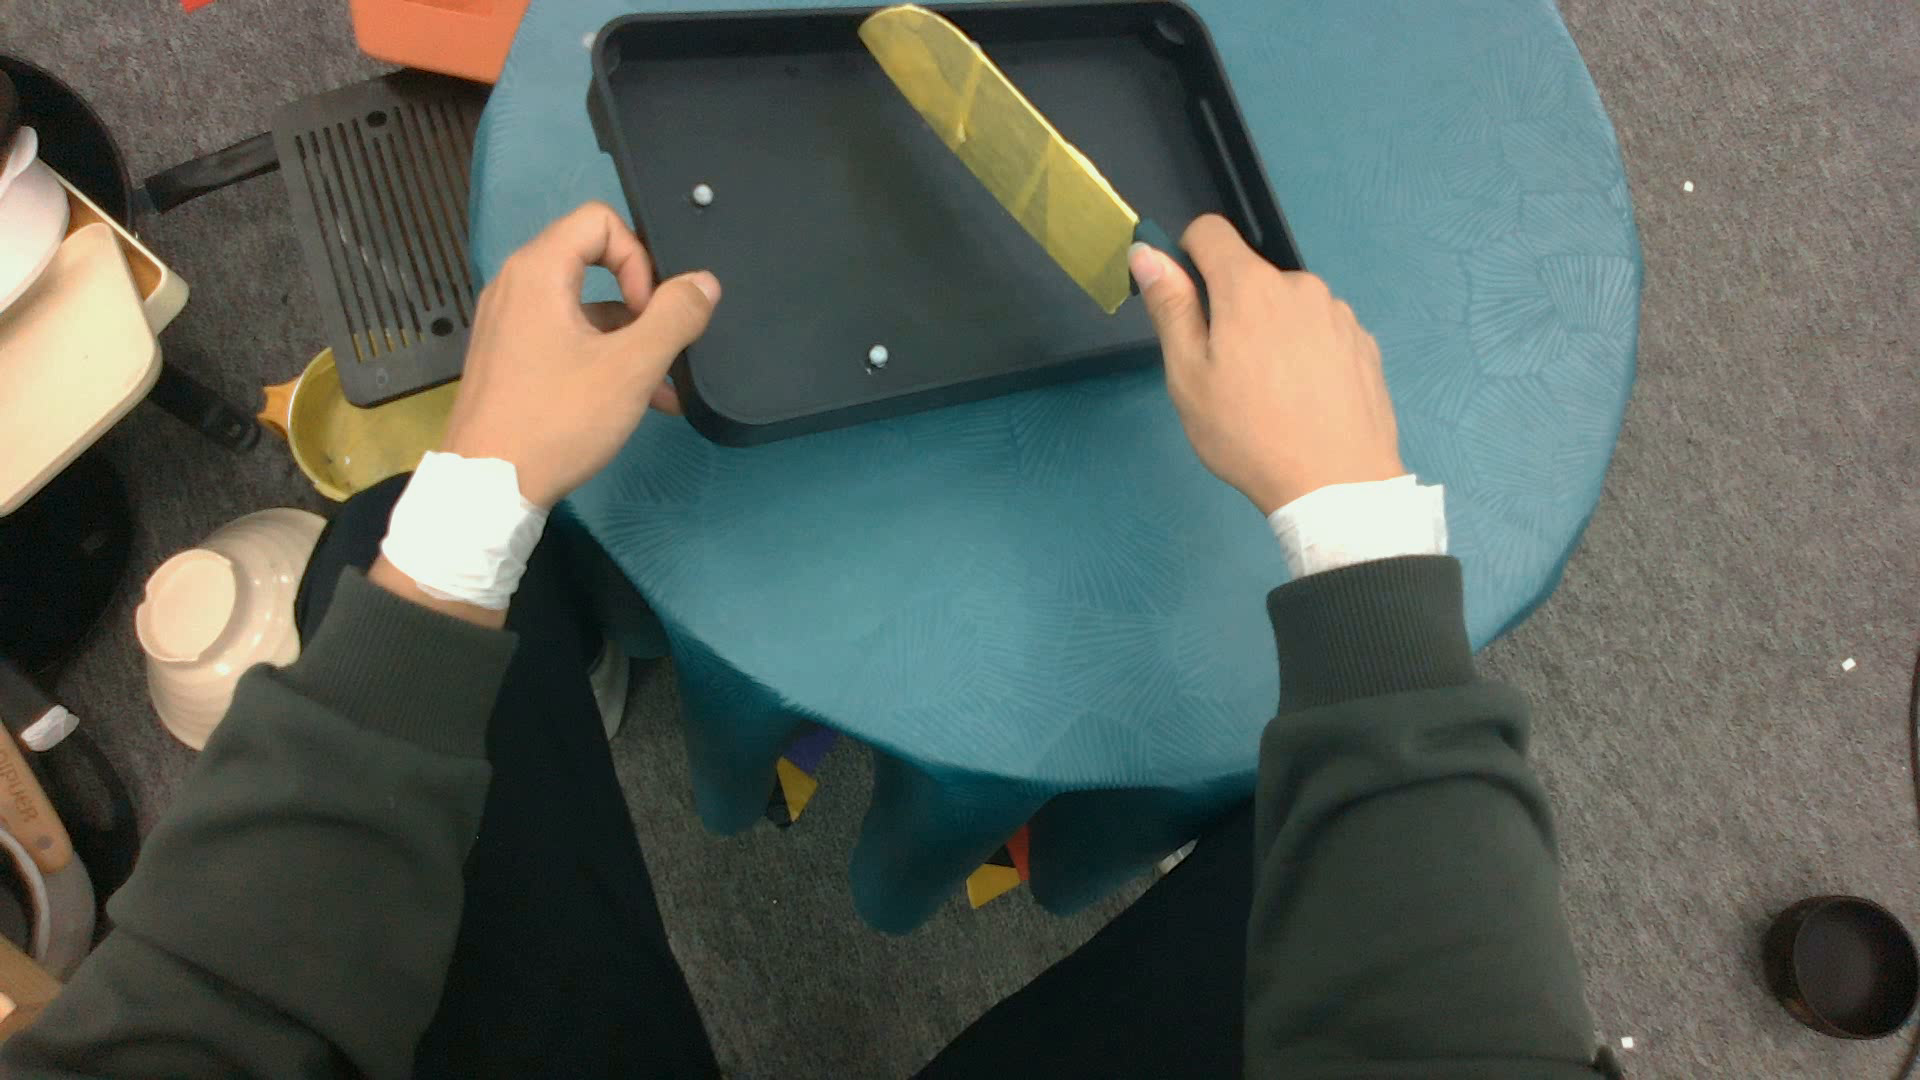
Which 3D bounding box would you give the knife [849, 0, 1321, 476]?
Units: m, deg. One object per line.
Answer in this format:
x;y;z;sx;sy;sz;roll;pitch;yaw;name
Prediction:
0.048;-0.134;0.602;0.027;0.081;0.289;-41;85;-17;knife

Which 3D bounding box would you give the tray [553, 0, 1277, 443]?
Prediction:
-0.009;-0.160;0.631;0.319;0.037;0.184;-16;80;-29;tray
